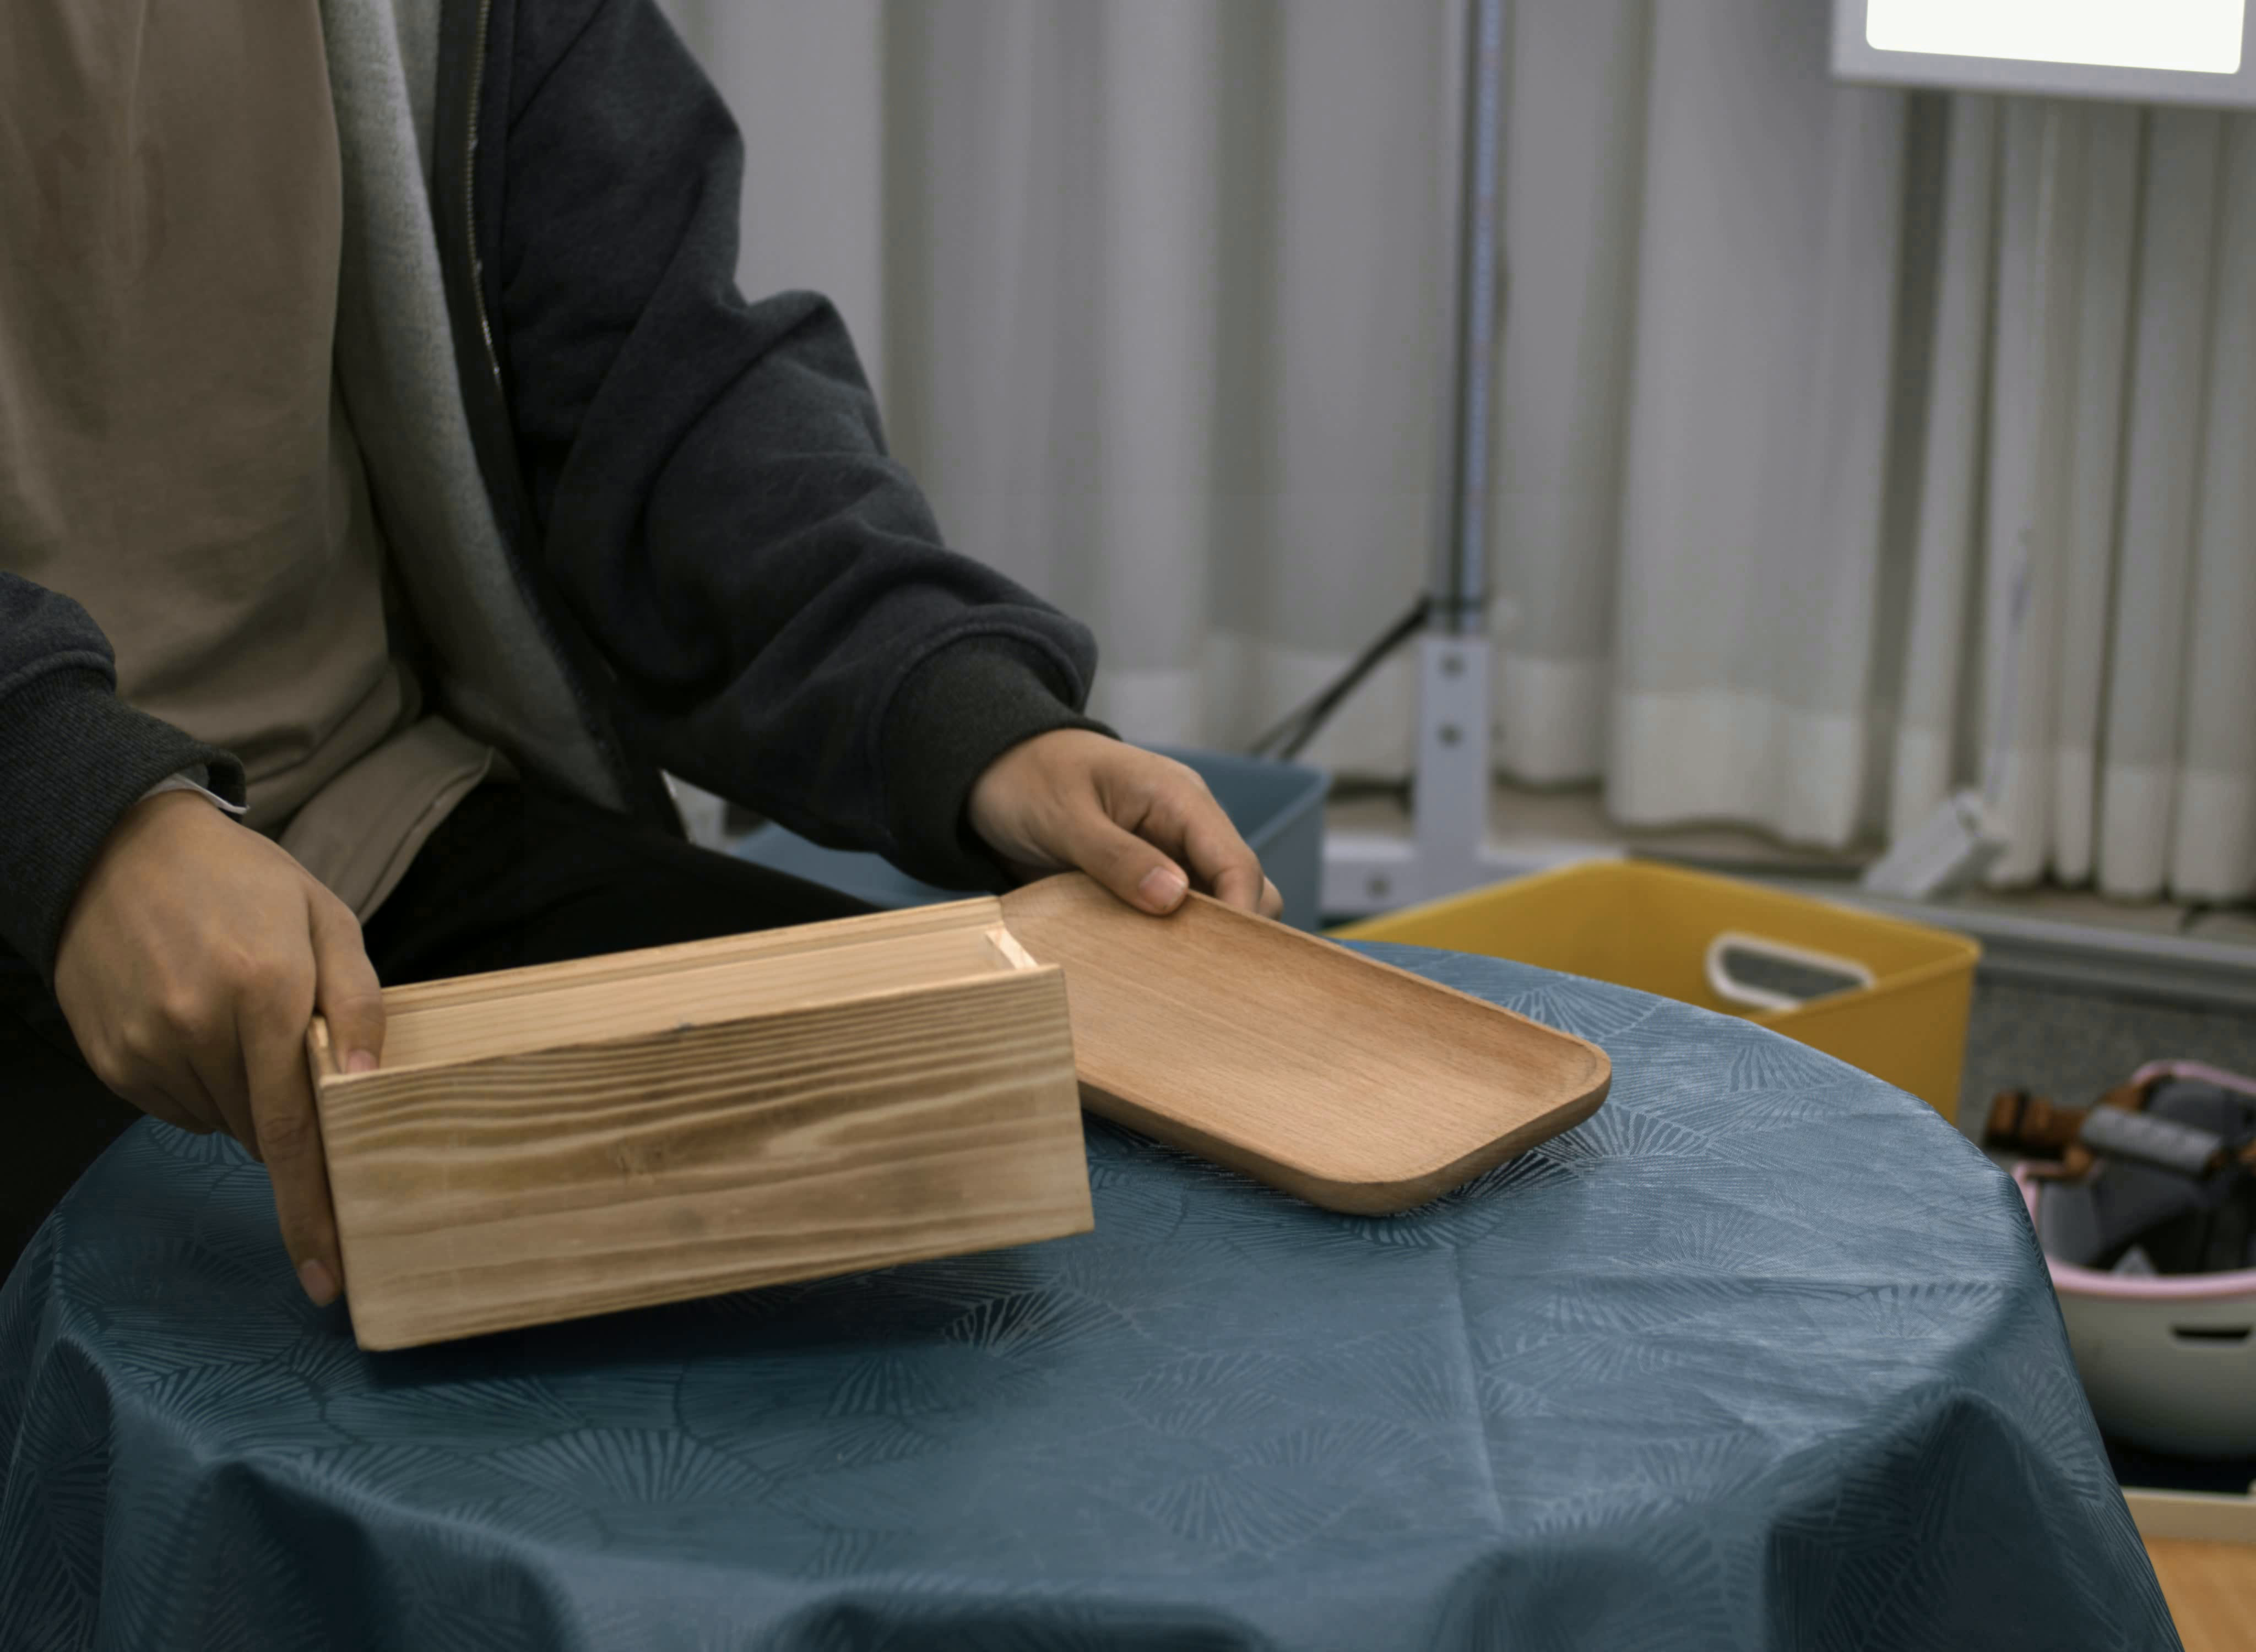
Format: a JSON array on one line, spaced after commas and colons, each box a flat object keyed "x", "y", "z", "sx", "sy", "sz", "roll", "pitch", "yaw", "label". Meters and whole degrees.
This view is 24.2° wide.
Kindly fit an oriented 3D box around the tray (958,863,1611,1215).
[{"x": 0.032, "y": 0.067, "z": 1.704, "sx": 0.131, "sy": 0.023, "sz": 0.247, "roll": -20, "pitch": 29, "yaw": -40, "label": "tray"}]

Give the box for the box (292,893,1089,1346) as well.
[{"x": -0.127, "y": 0.082, "z": 1.512, "sx": 0.211, "sy": 0.081, "sz": 0.106, "roll": -9, "pitch": 13, "yaw": -11, "label": "box"}]
